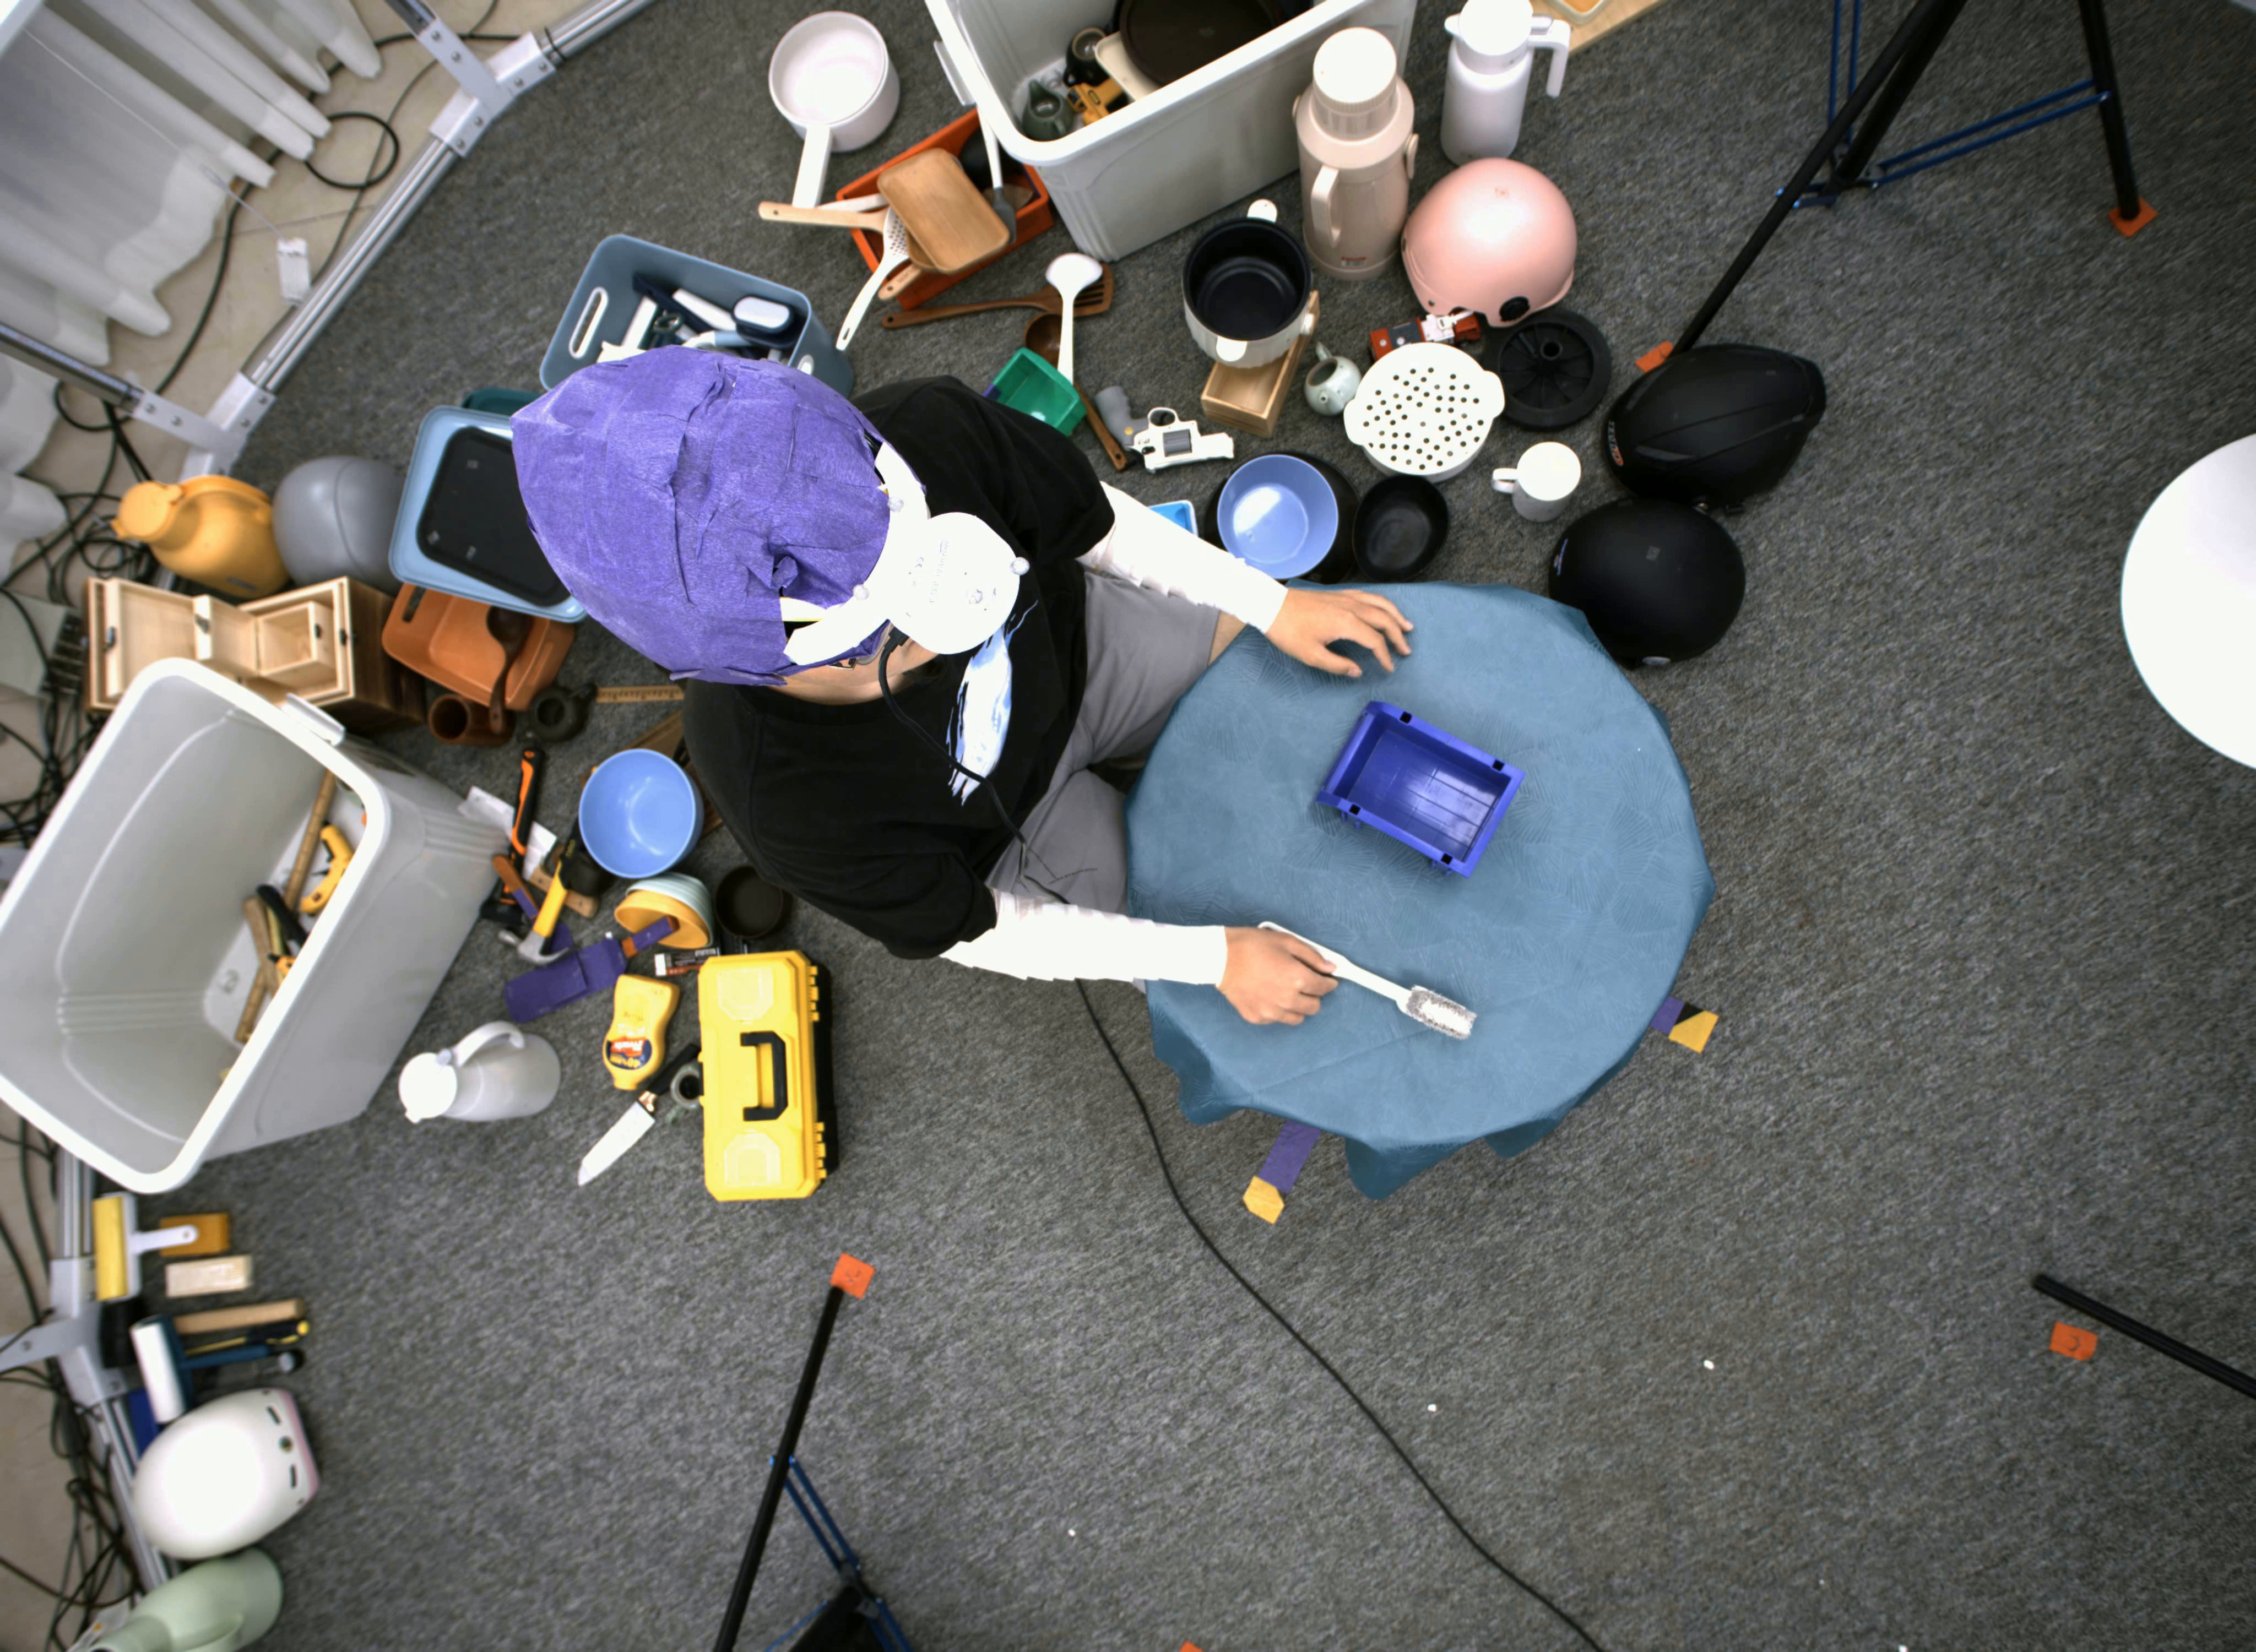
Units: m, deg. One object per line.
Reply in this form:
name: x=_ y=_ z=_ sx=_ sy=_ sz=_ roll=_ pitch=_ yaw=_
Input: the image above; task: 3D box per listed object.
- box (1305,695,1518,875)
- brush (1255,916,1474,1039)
box: x=0.288 y=-0.043 z=1.420 sx=0.179 sy=0.082 sz=0.125 roll=31 pitch=92 yaw=10
brush: x=0.242 y=0.152 z=1.434 sx=0.243 sy=0.050 sz=0.034 roll=26 pitch=90 yaw=10
